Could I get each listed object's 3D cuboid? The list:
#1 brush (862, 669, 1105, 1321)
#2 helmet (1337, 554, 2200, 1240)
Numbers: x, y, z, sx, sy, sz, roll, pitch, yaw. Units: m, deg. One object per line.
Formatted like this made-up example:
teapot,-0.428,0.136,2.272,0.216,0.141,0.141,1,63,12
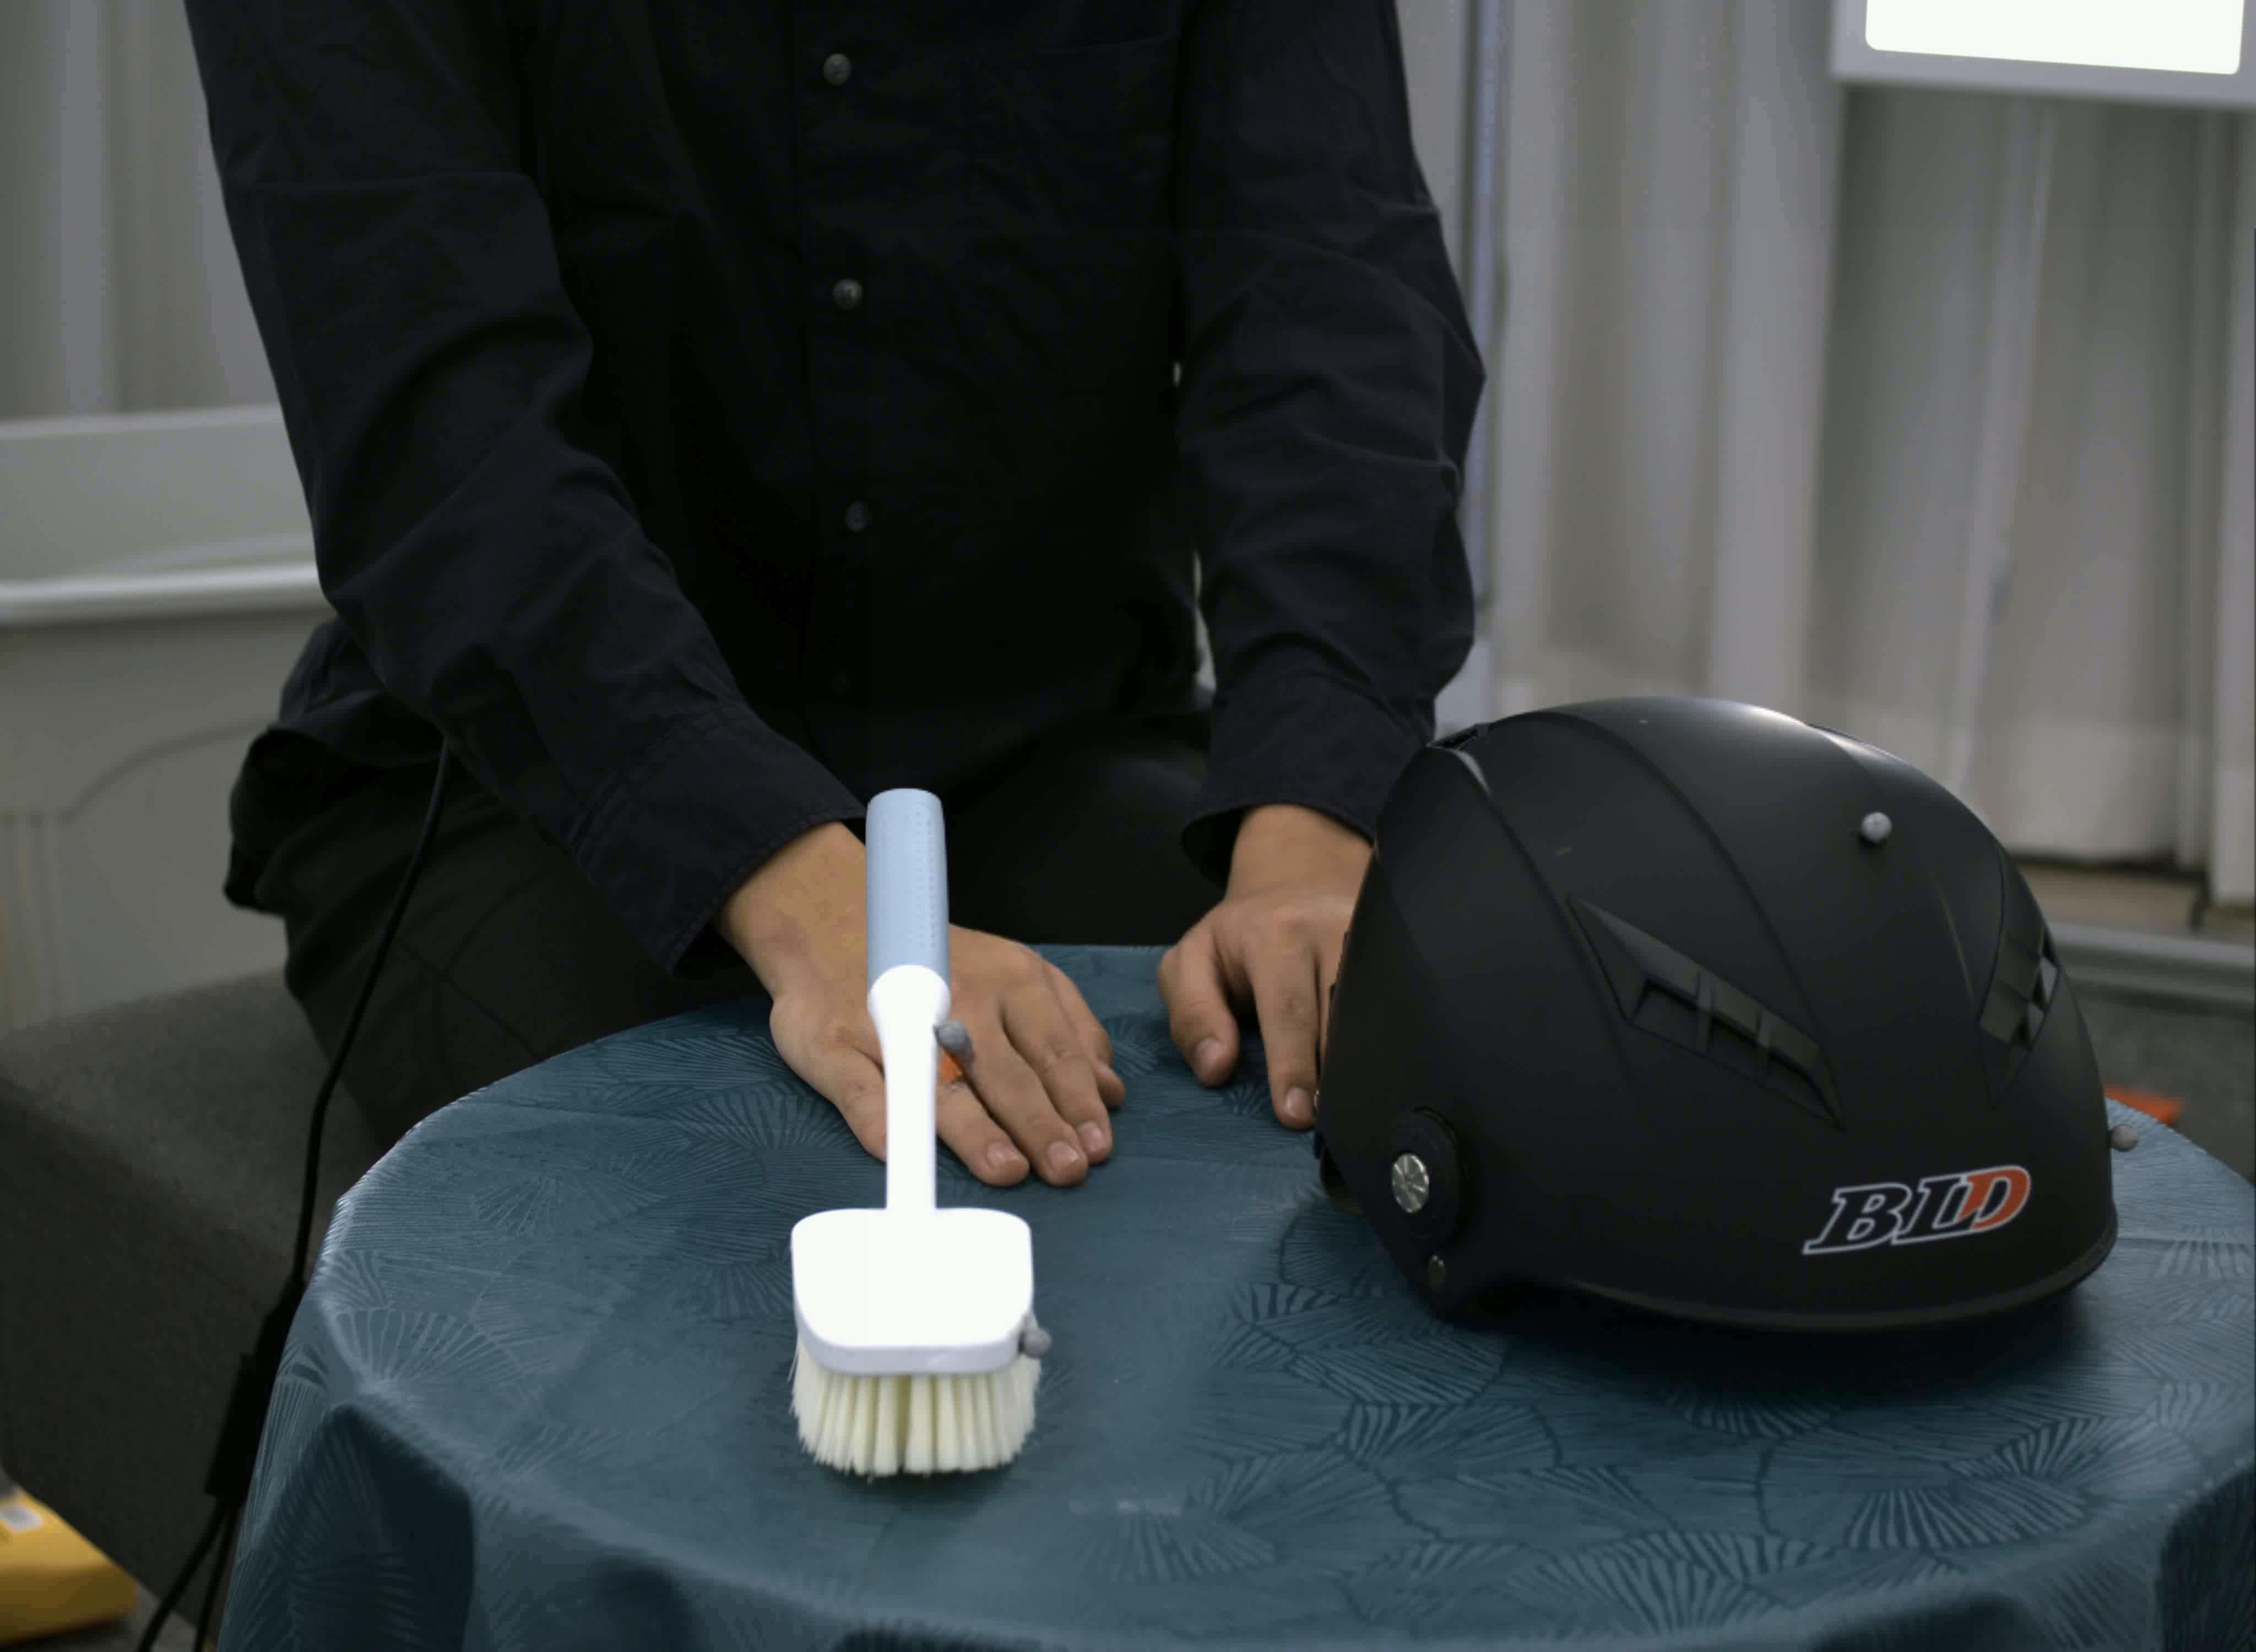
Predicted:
brush,-0.040,0.062,1.565,0.083,0.084,0.322,34,22,-18
helmet,0.191,0.012,1.603,0.247,0.174,0.273,-6,19,-21
